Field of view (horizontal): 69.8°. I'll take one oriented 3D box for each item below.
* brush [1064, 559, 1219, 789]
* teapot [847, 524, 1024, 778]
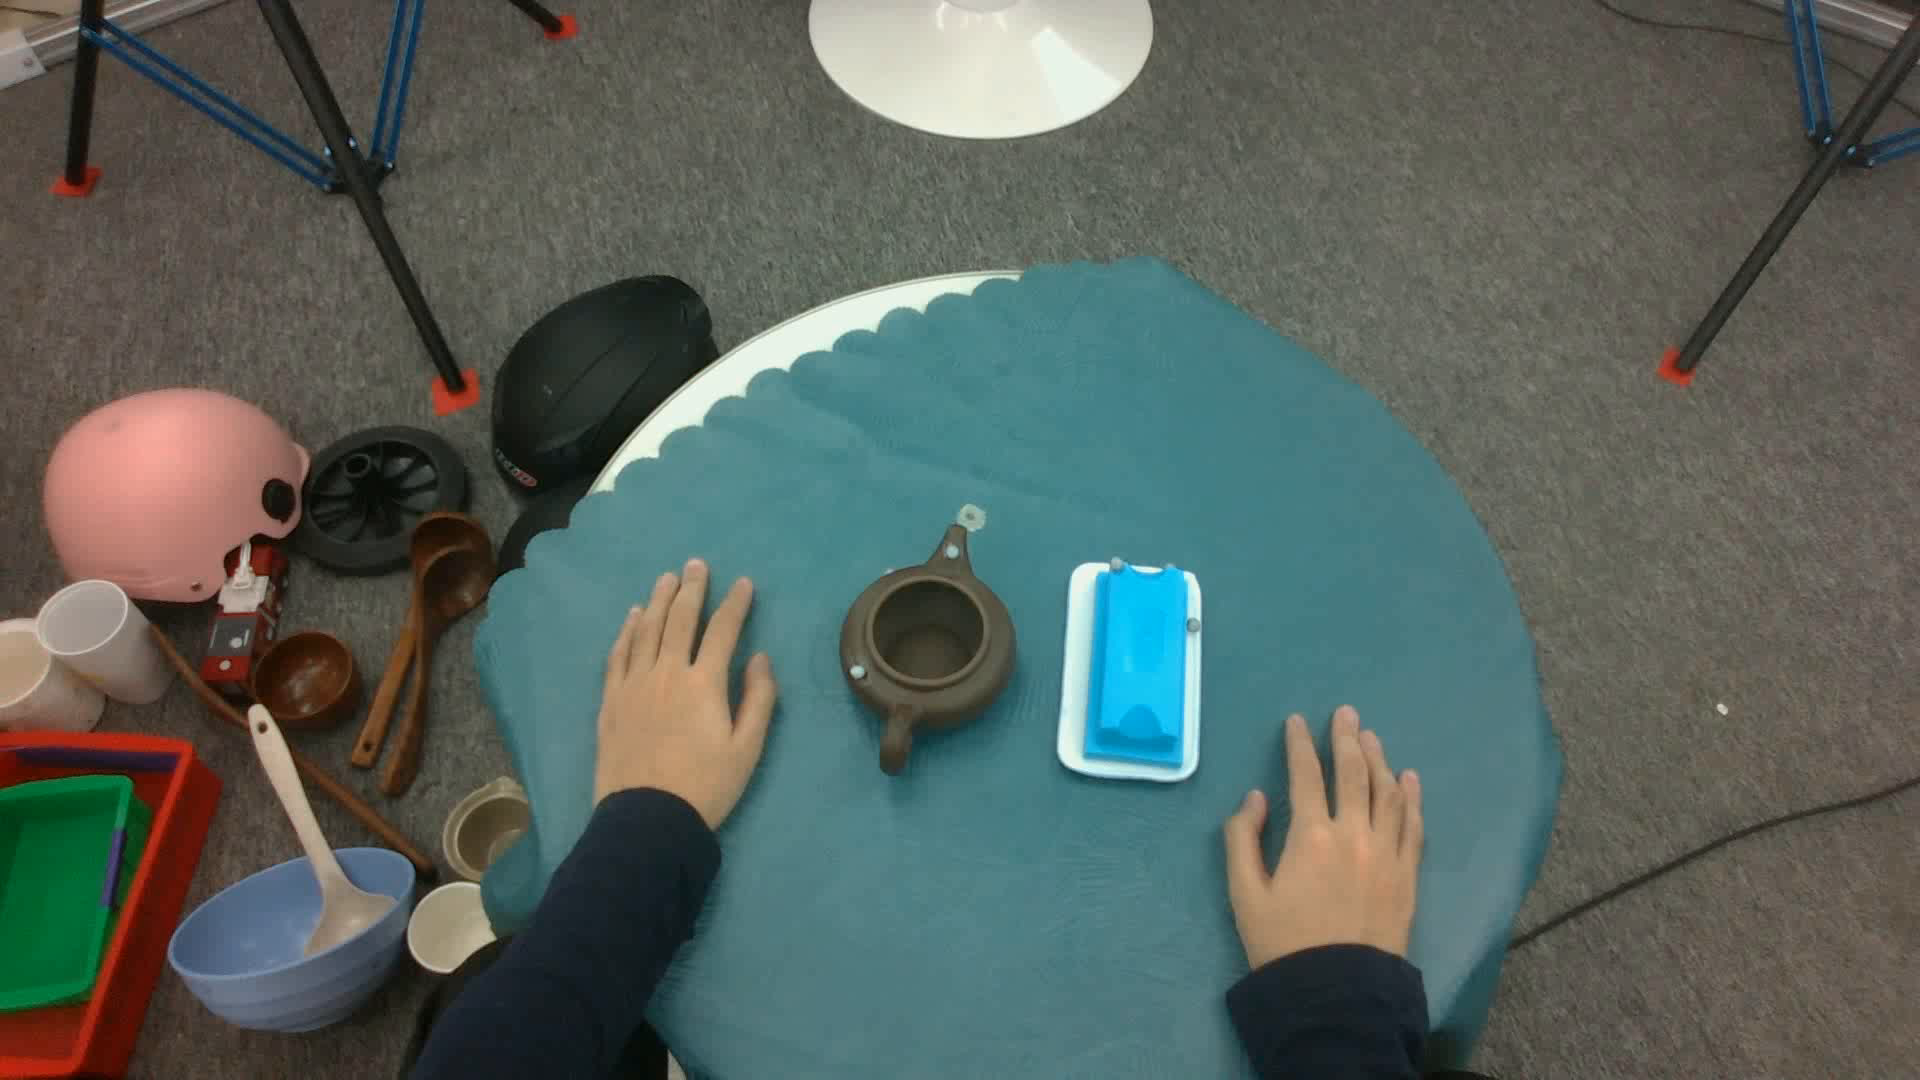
[{"bbox_3d":[0.107,0.069,0.794,0.084,0.055,0.144,6,56,7],"label":"brush"},{"bbox_3d":[-0.015,0.066,0.799,0.102,0.053,0.154,7,58,6],"label":"teapot"}]
